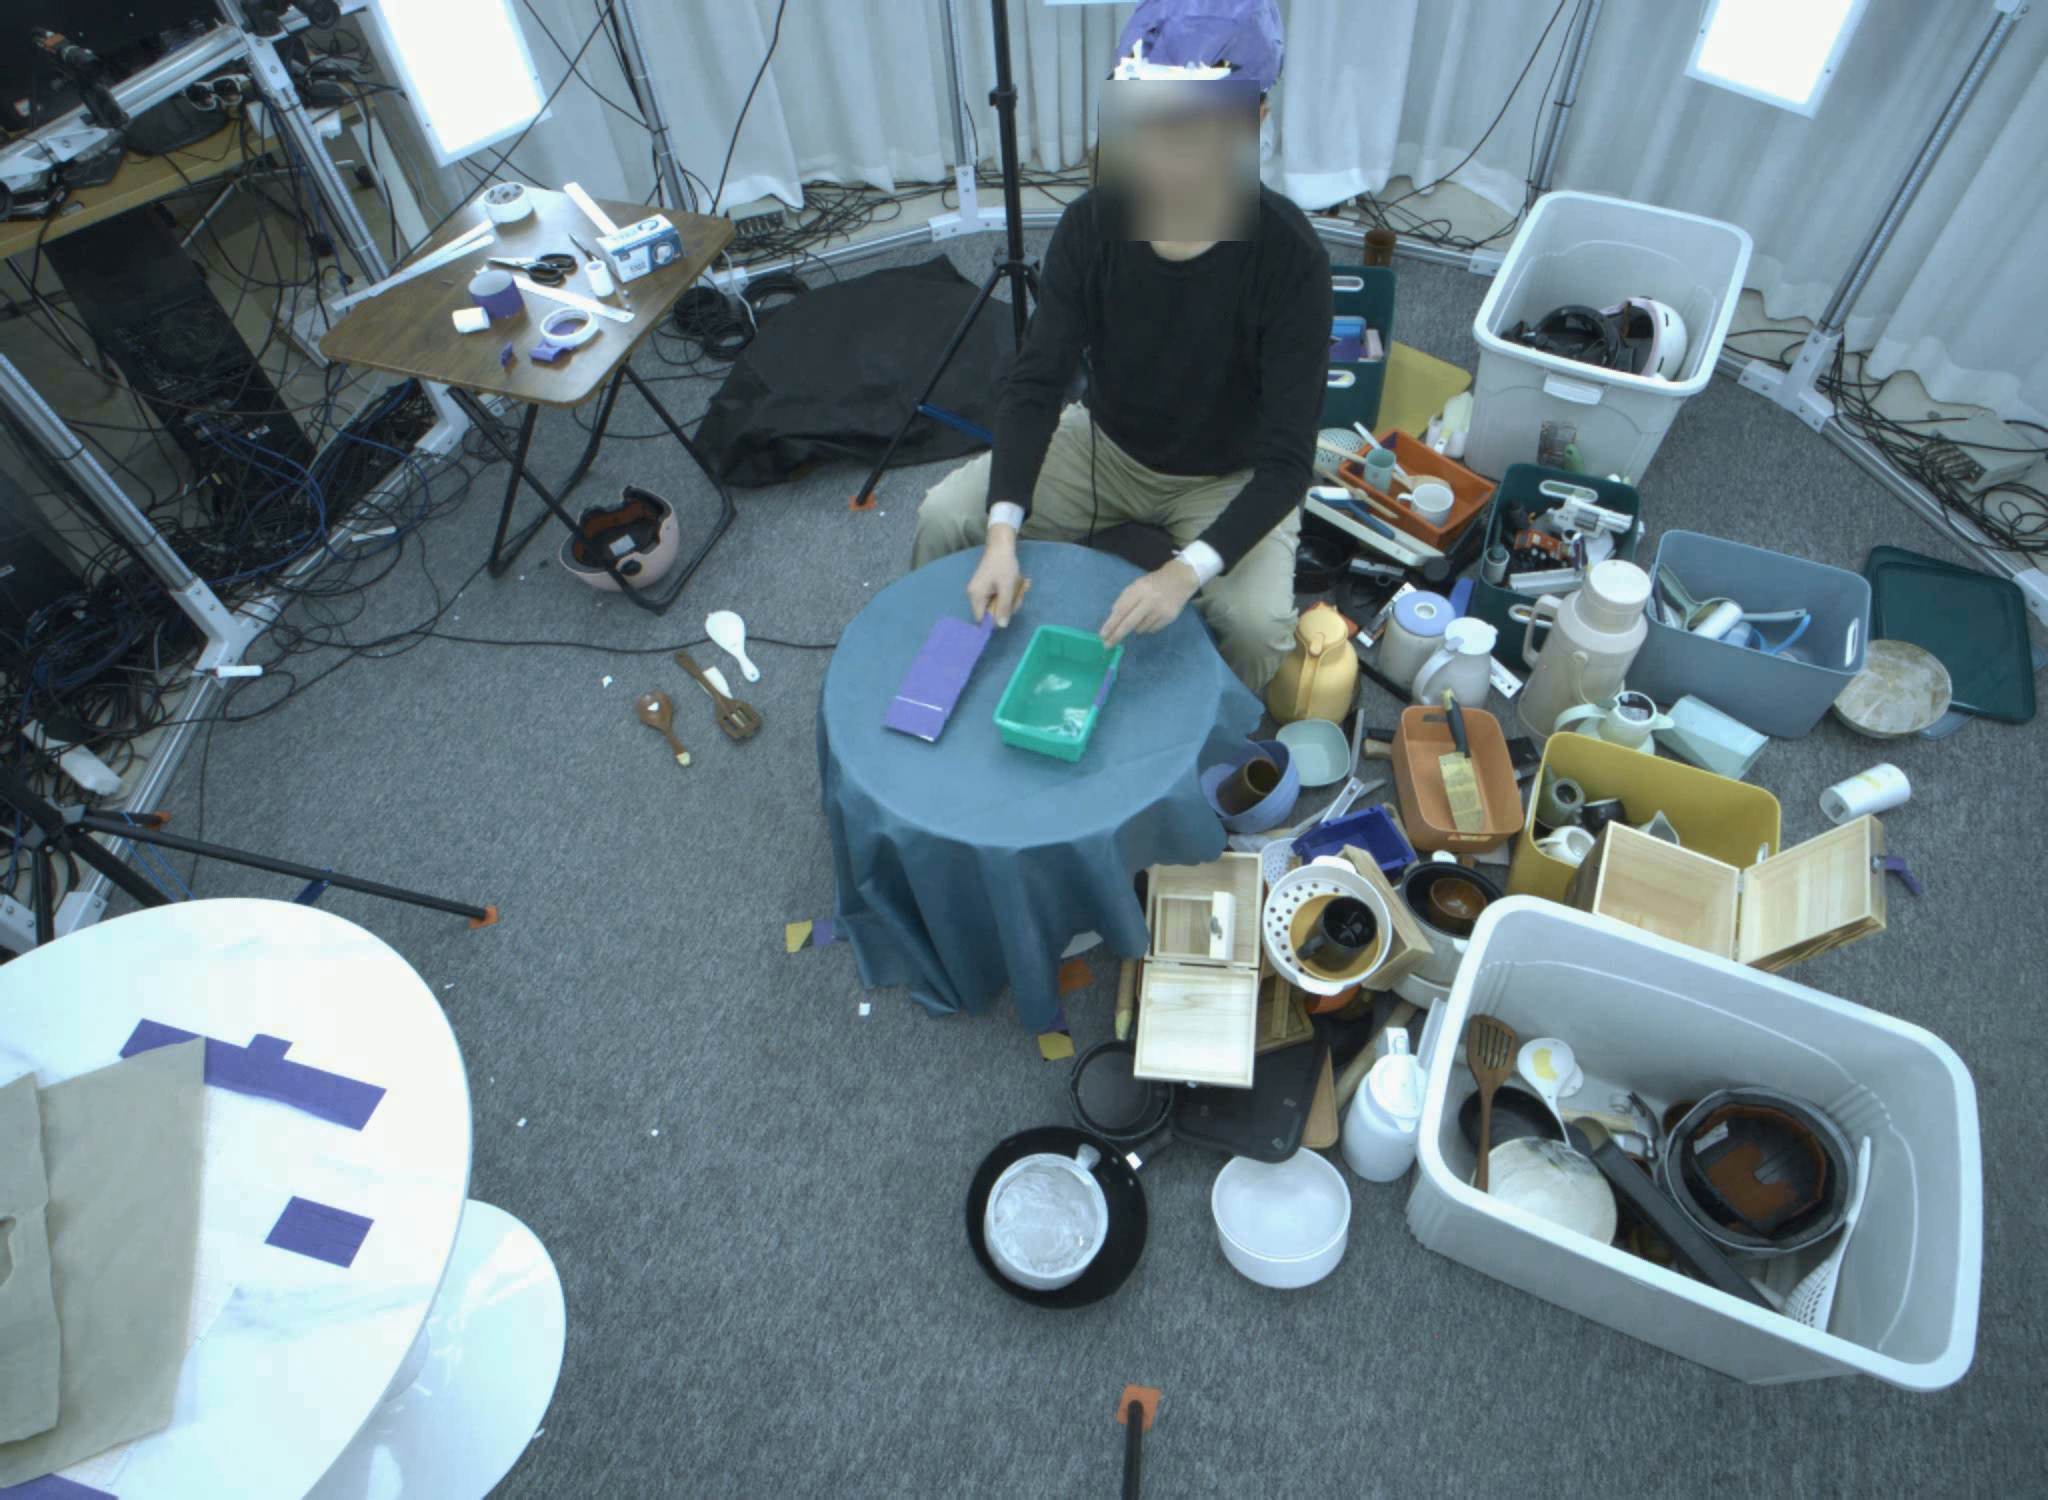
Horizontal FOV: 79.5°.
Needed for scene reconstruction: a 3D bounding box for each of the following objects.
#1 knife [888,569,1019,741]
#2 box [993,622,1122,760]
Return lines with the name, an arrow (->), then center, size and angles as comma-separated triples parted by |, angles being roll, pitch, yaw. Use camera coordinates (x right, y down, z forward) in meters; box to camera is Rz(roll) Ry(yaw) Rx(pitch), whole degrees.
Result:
knife -> -0.109, -0.156, 1.851 | 0.103, 0.032, 0.315 | 19, 63, 14
box -> 0.052, -0.085, 1.808 | 0.137, 0.066, 0.210 | 16, 55, 11
